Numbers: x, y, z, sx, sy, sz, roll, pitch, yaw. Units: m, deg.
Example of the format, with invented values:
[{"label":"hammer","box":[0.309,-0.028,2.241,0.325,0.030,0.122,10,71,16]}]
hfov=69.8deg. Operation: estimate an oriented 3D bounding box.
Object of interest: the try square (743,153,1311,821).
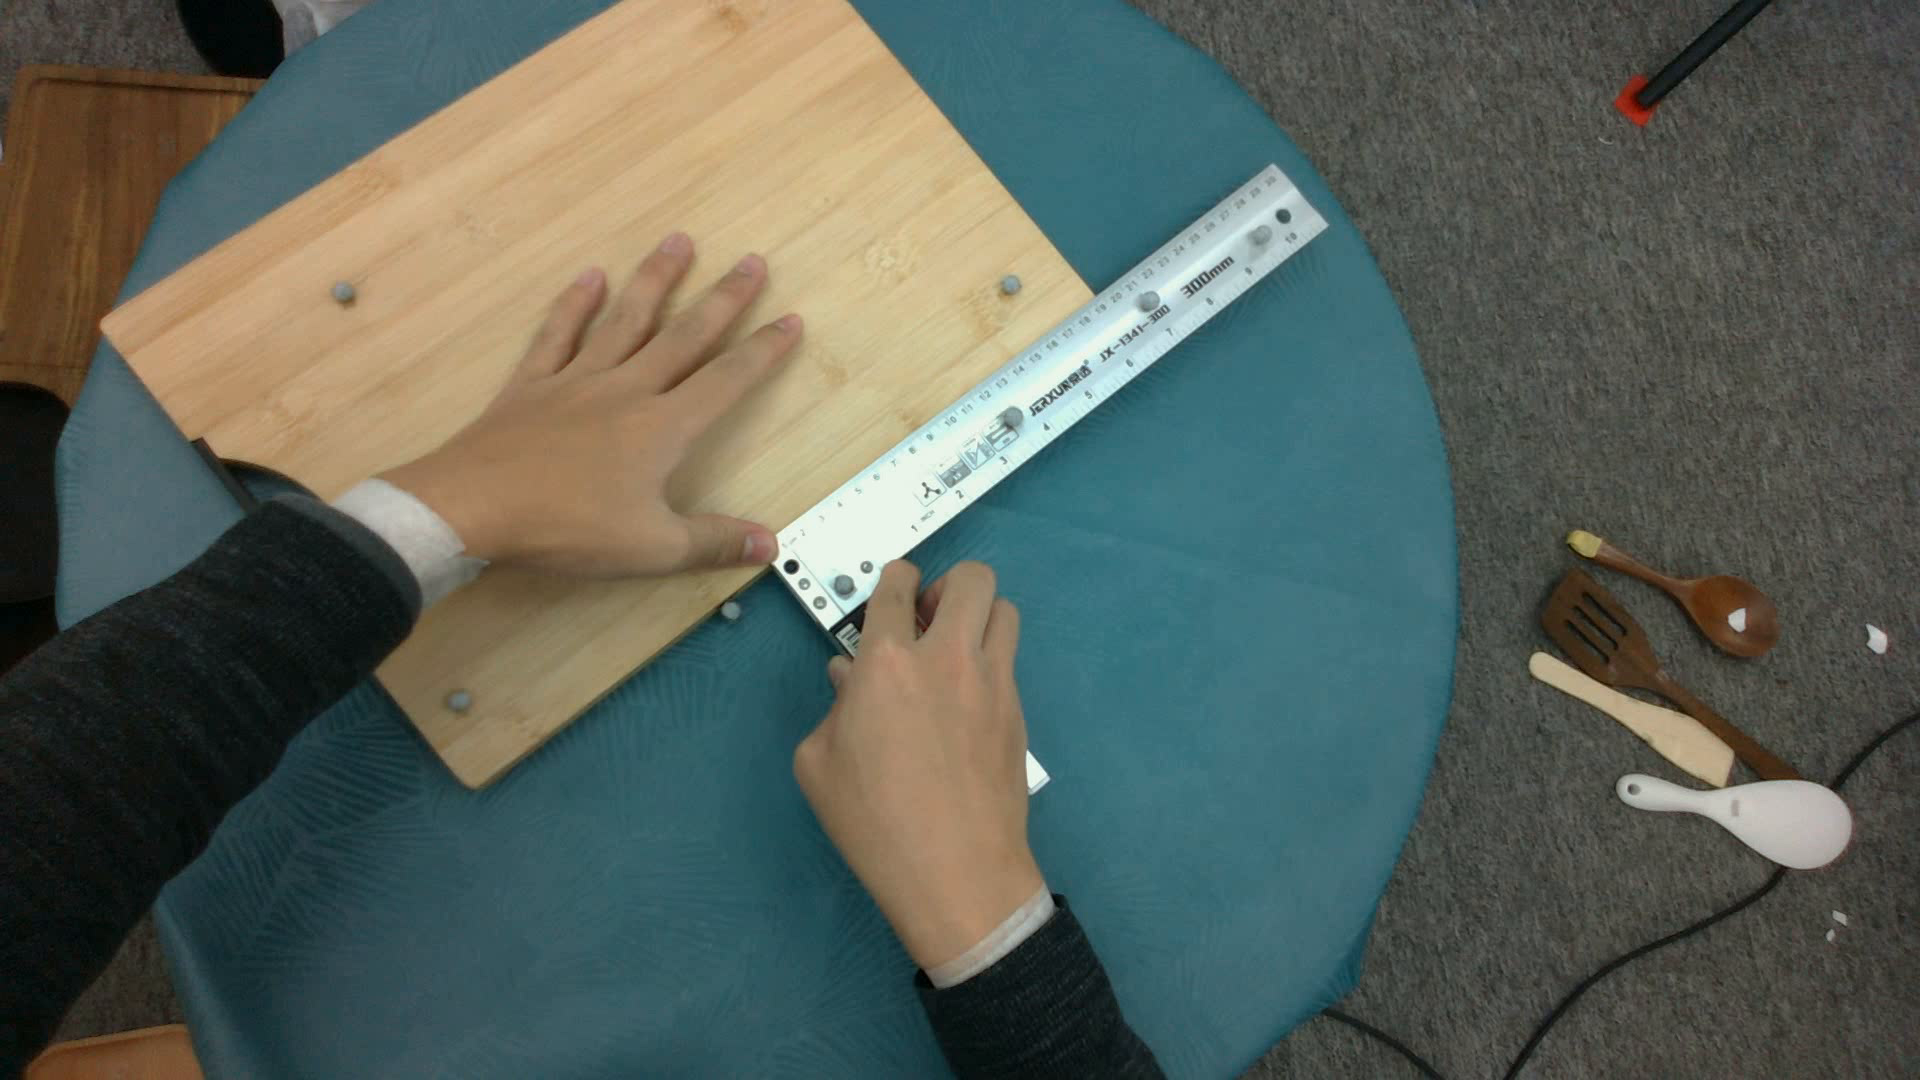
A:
[{"label":"try square","box":[0.072,-0.035,0.610,0.314,0.016,0.152,-38,86,-16]}]

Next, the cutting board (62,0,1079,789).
[{"label":"cutting board","box":[-0.148,-0.097,0.592,0.349,0.023,0.251,-40,87,-17]}]
